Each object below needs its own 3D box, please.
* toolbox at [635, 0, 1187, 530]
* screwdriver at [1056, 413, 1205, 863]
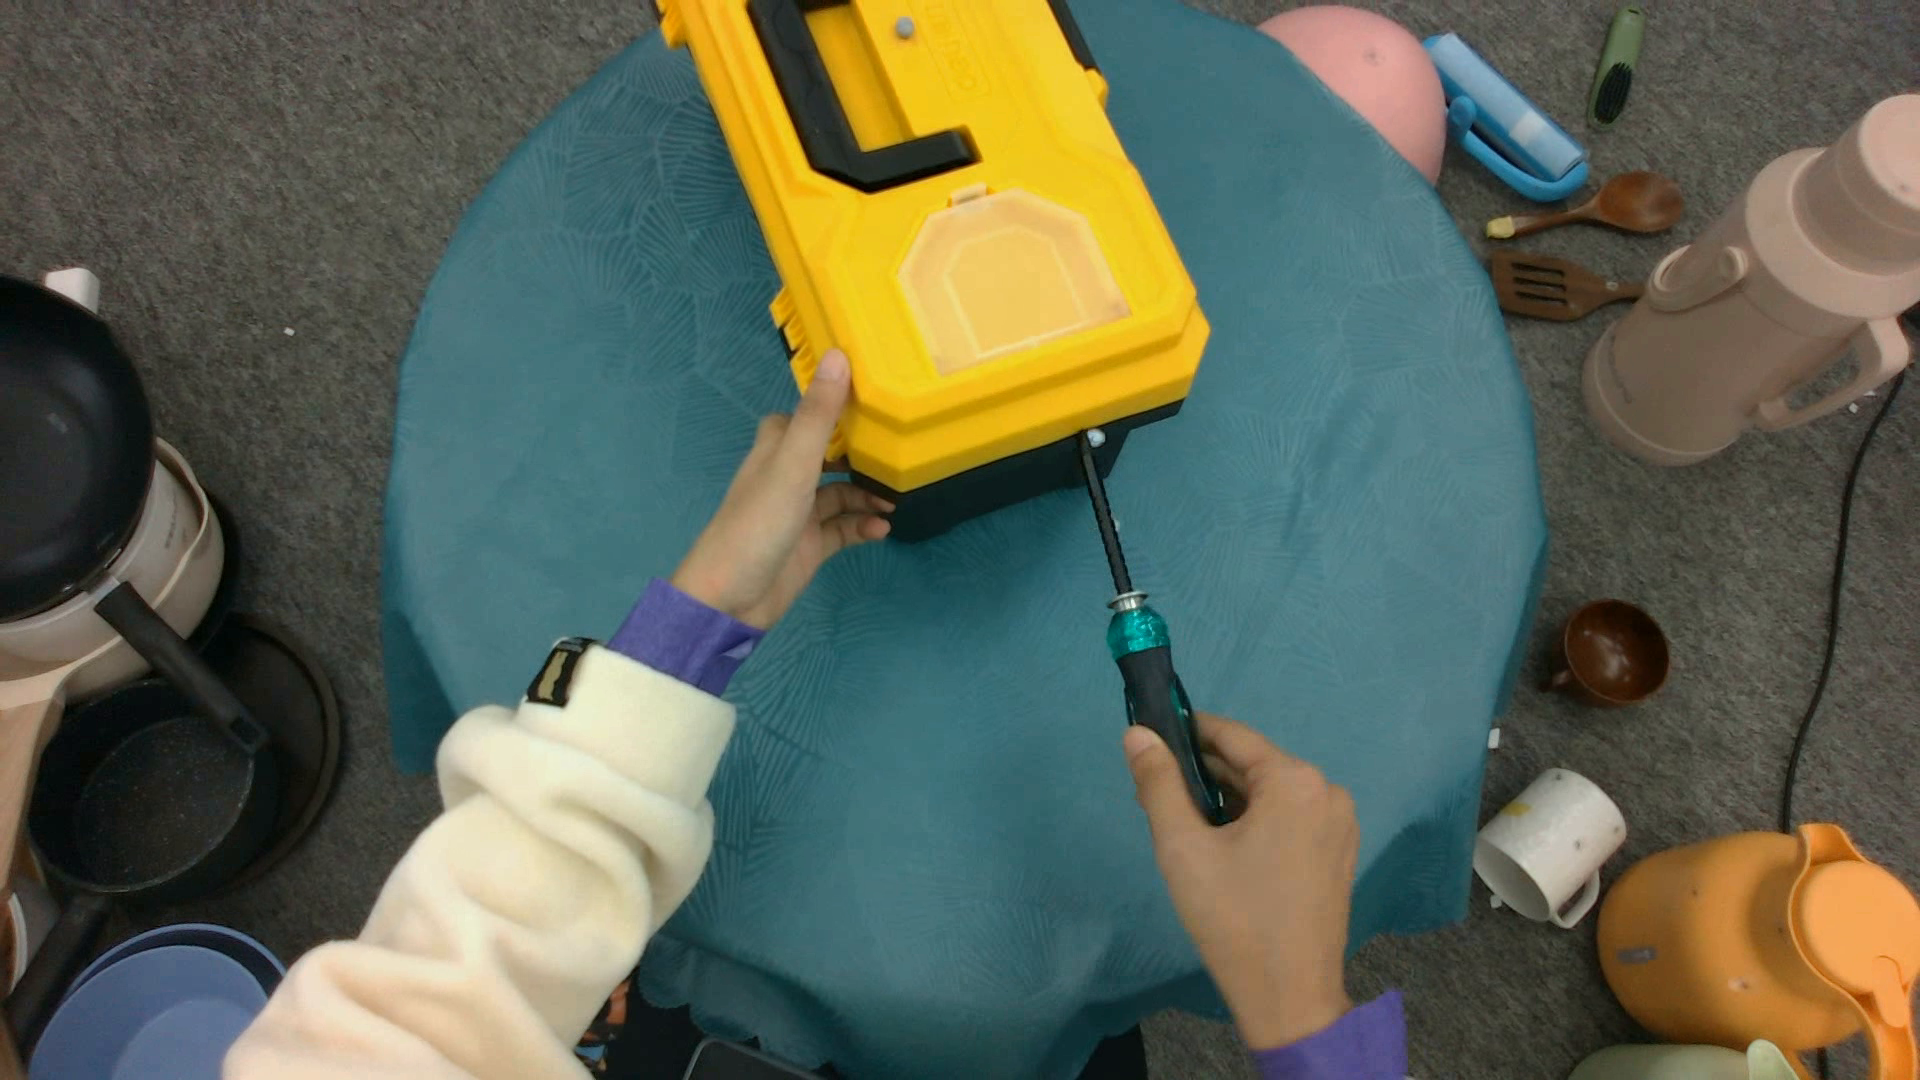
[{"bbox_3d":[-0.039,-0.189,0.675,0.181,0.172,0.352,-19,72,-10],"label":"toolbox"},{"bbox_3d":[0.063,0.036,0.565,0.034,0.033,0.190,-11,75,-8],"label":"screwdriver"}]
